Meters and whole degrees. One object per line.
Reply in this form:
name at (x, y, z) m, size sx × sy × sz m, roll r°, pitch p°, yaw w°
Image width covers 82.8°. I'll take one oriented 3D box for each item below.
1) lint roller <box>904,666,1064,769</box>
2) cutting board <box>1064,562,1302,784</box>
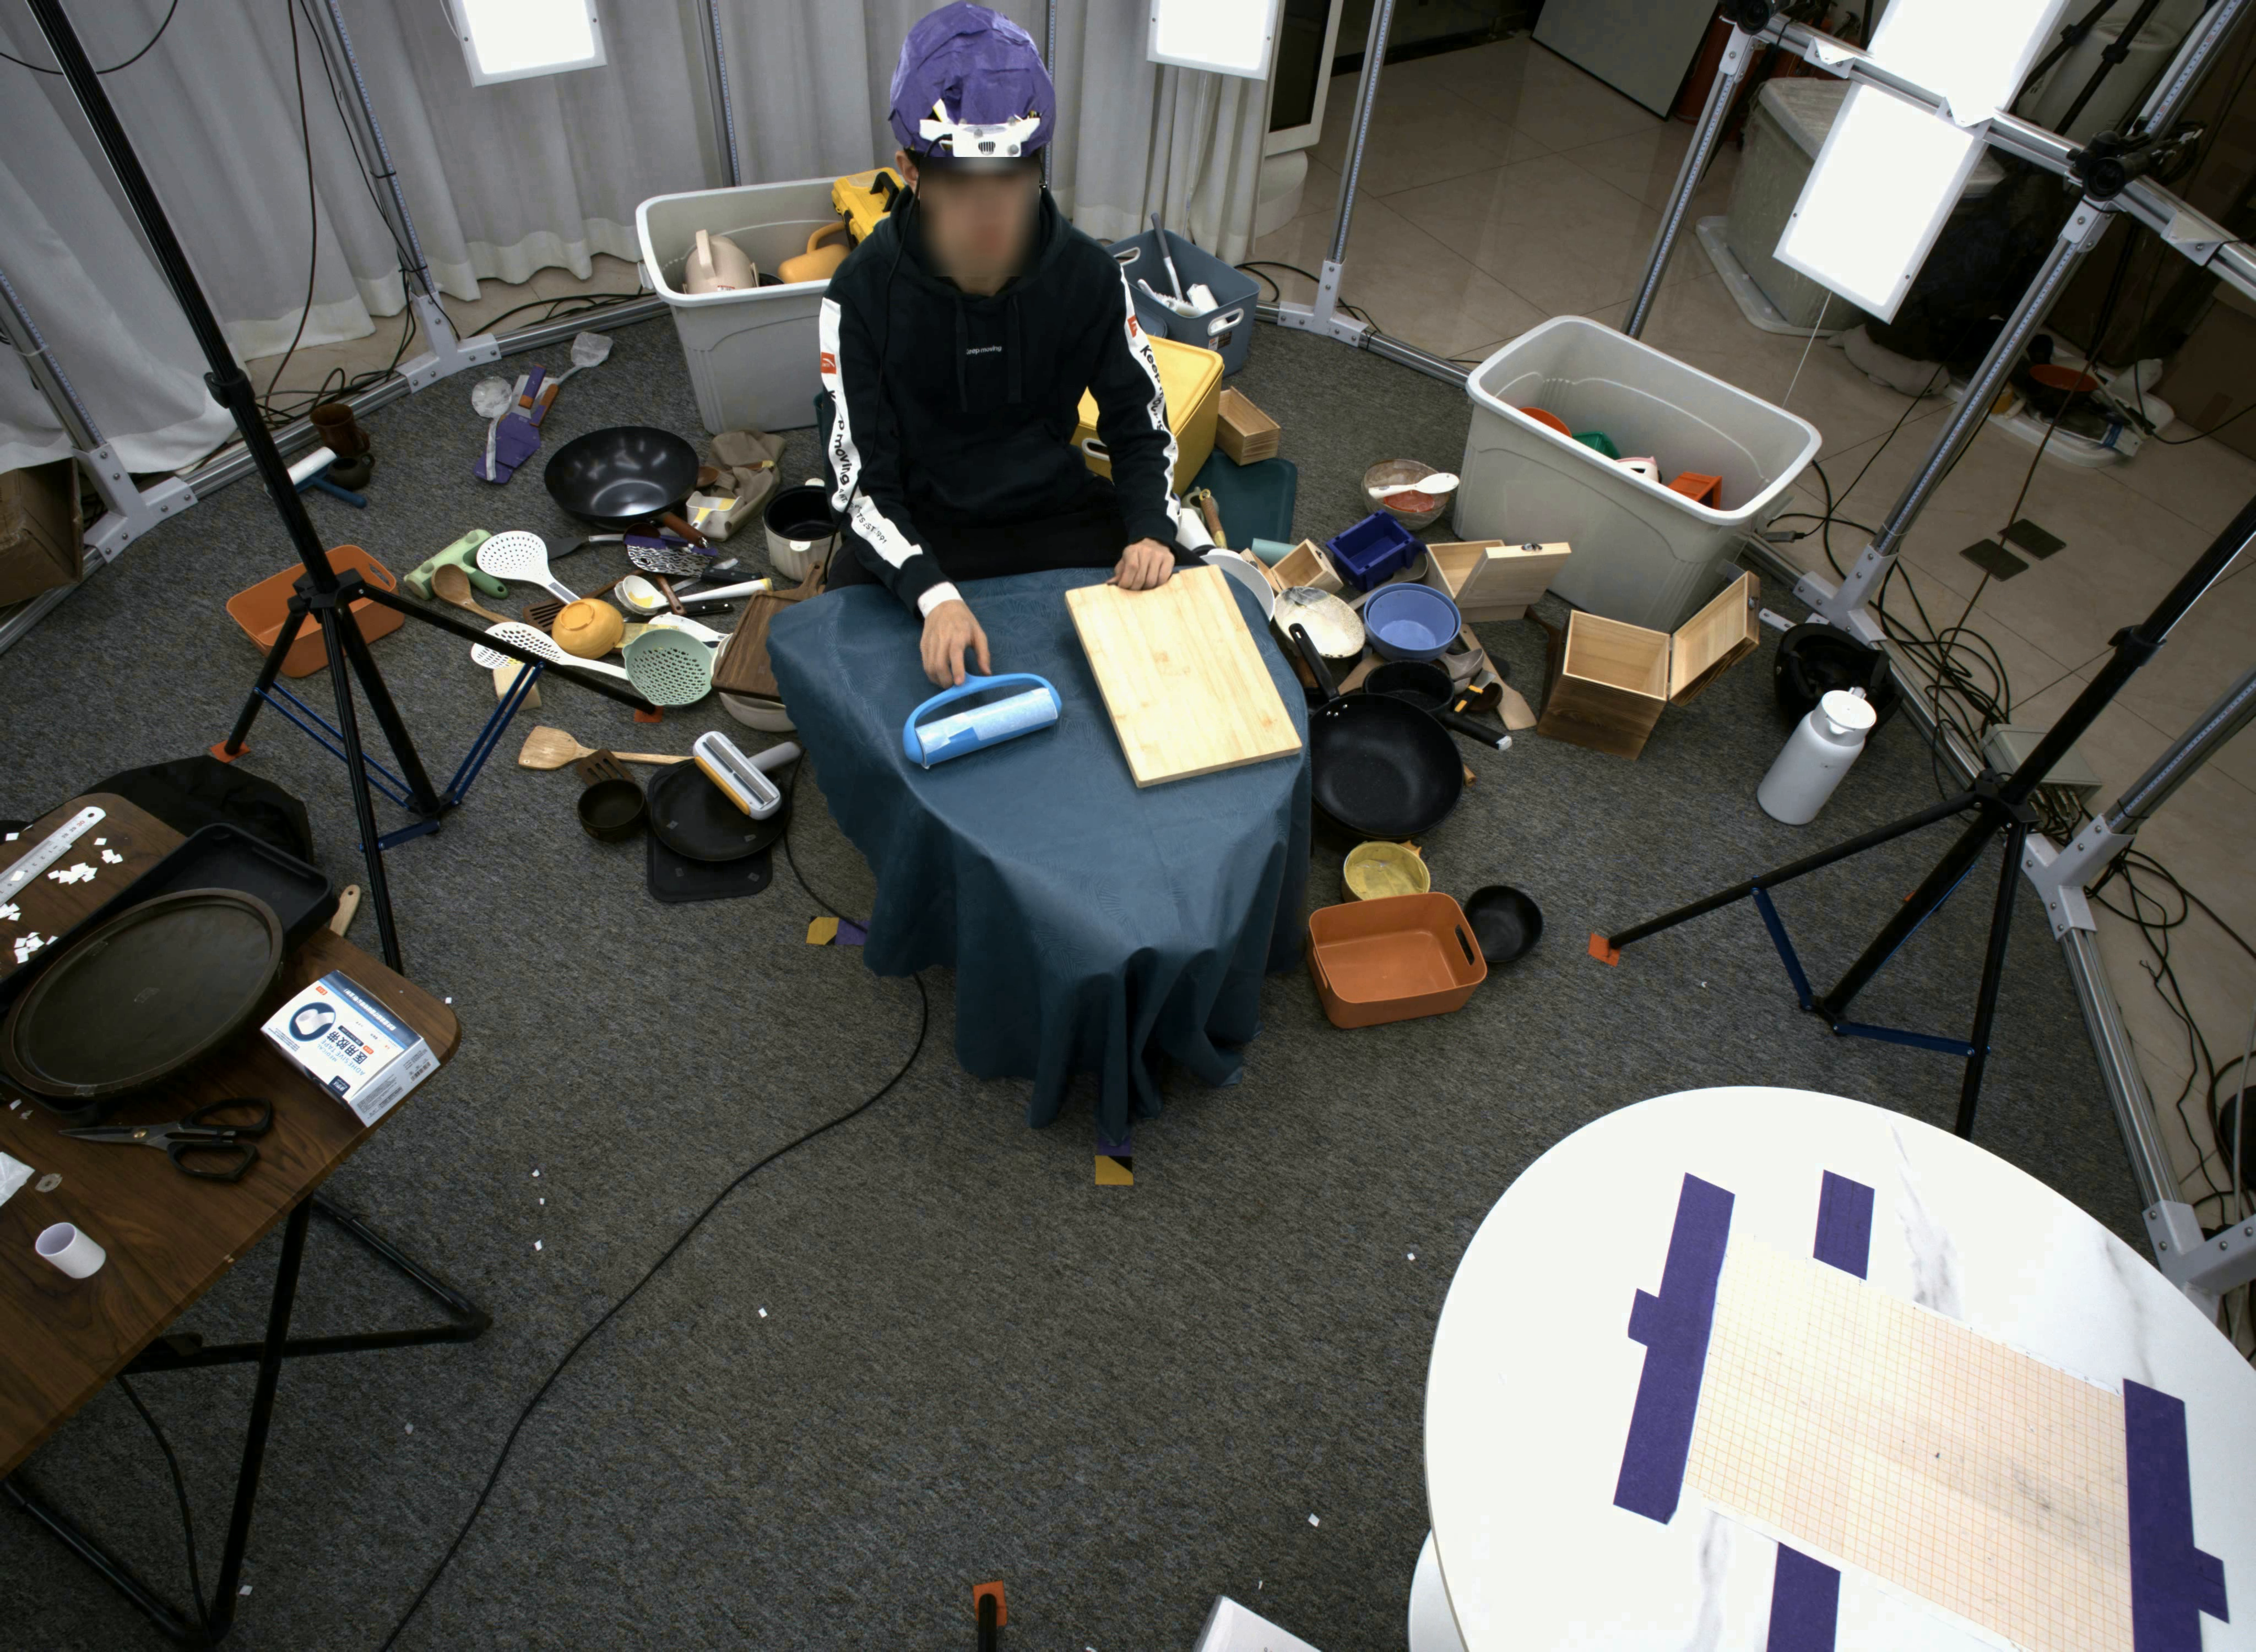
lint roller at (-0.222, -0.175, 1.769) m, size 0.229 × 0.066 × 0.184 m, roll -23°, pitch 55°, yaw -20°
cutting board at (0.073, -0.223, 1.824) m, size 0.251 × 0.023 × 0.356 m, roll -13°, pitch 59°, yaw -15°
